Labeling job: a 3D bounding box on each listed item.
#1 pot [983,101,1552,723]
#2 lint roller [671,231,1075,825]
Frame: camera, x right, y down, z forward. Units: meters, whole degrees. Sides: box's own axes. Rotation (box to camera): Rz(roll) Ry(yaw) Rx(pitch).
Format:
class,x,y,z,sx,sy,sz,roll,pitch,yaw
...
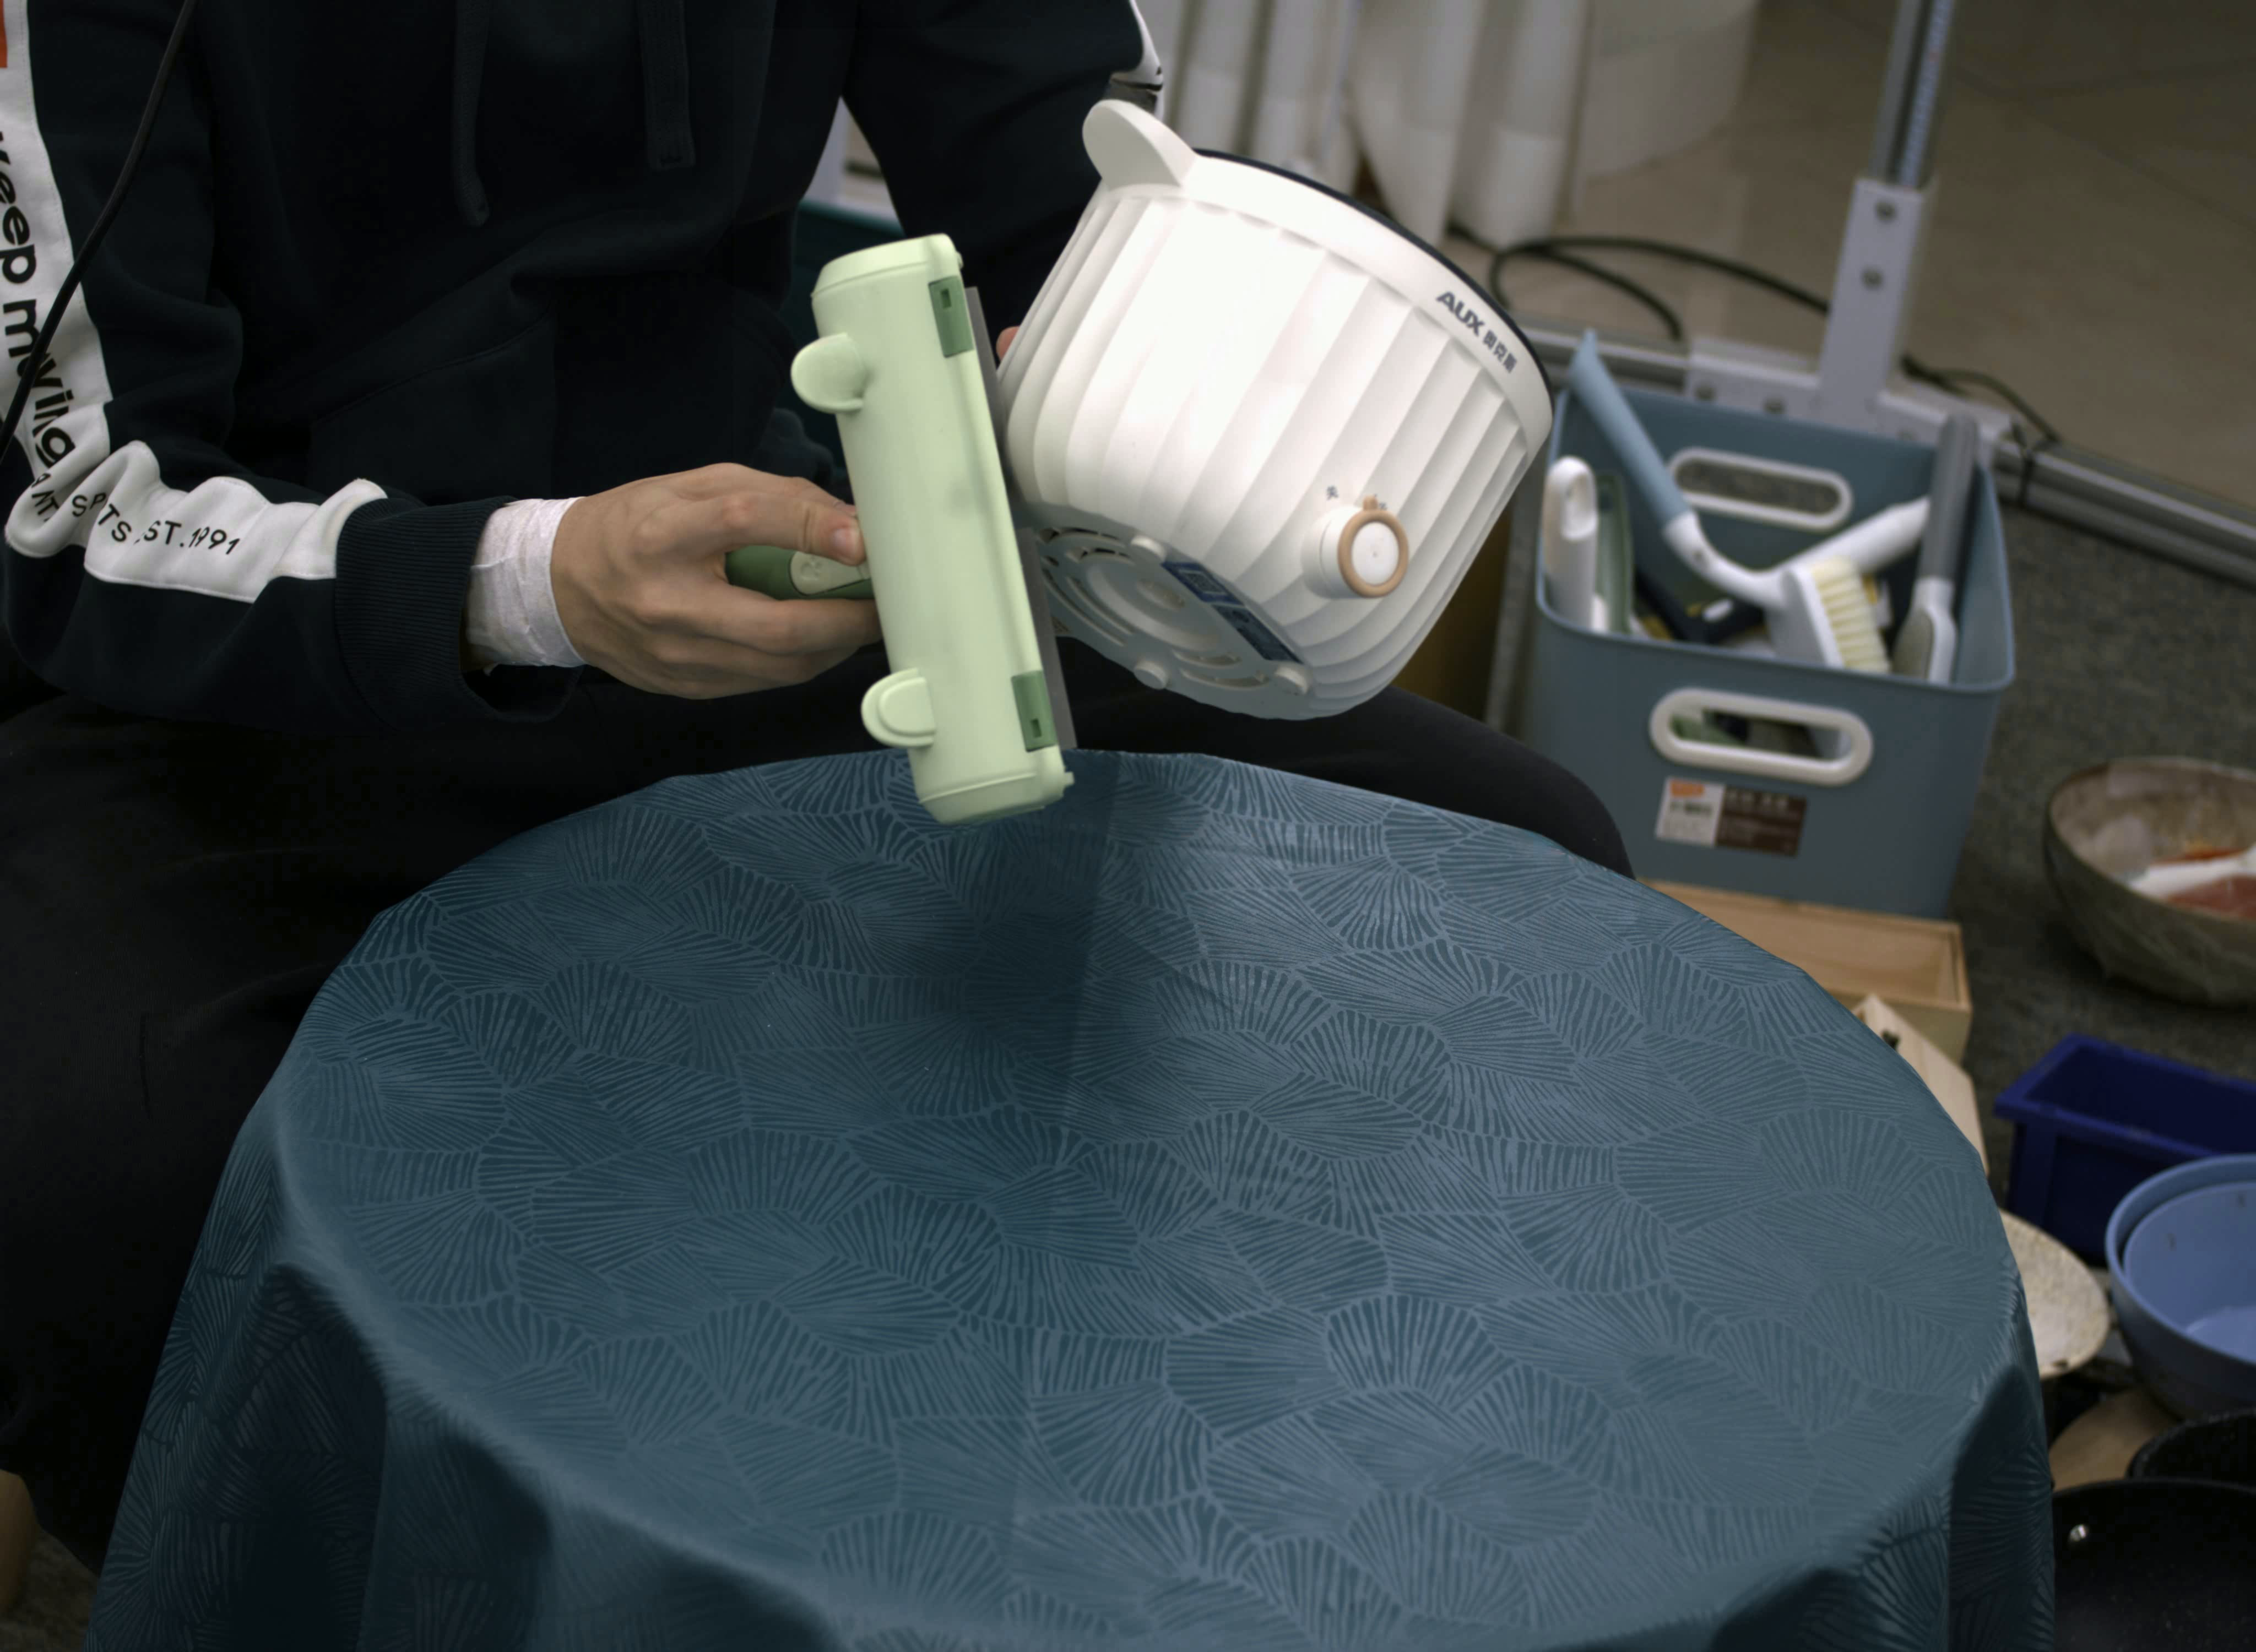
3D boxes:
class,x,y,z,sx,sy,sz,roll,pitch,yaw
pot,0.042,-0.127,1.855,0.191,0.238,0.143,0,56,50
lint roller,-0.109,-0.088,1.830,0.184,0.199,0.081,-15,-4,38
